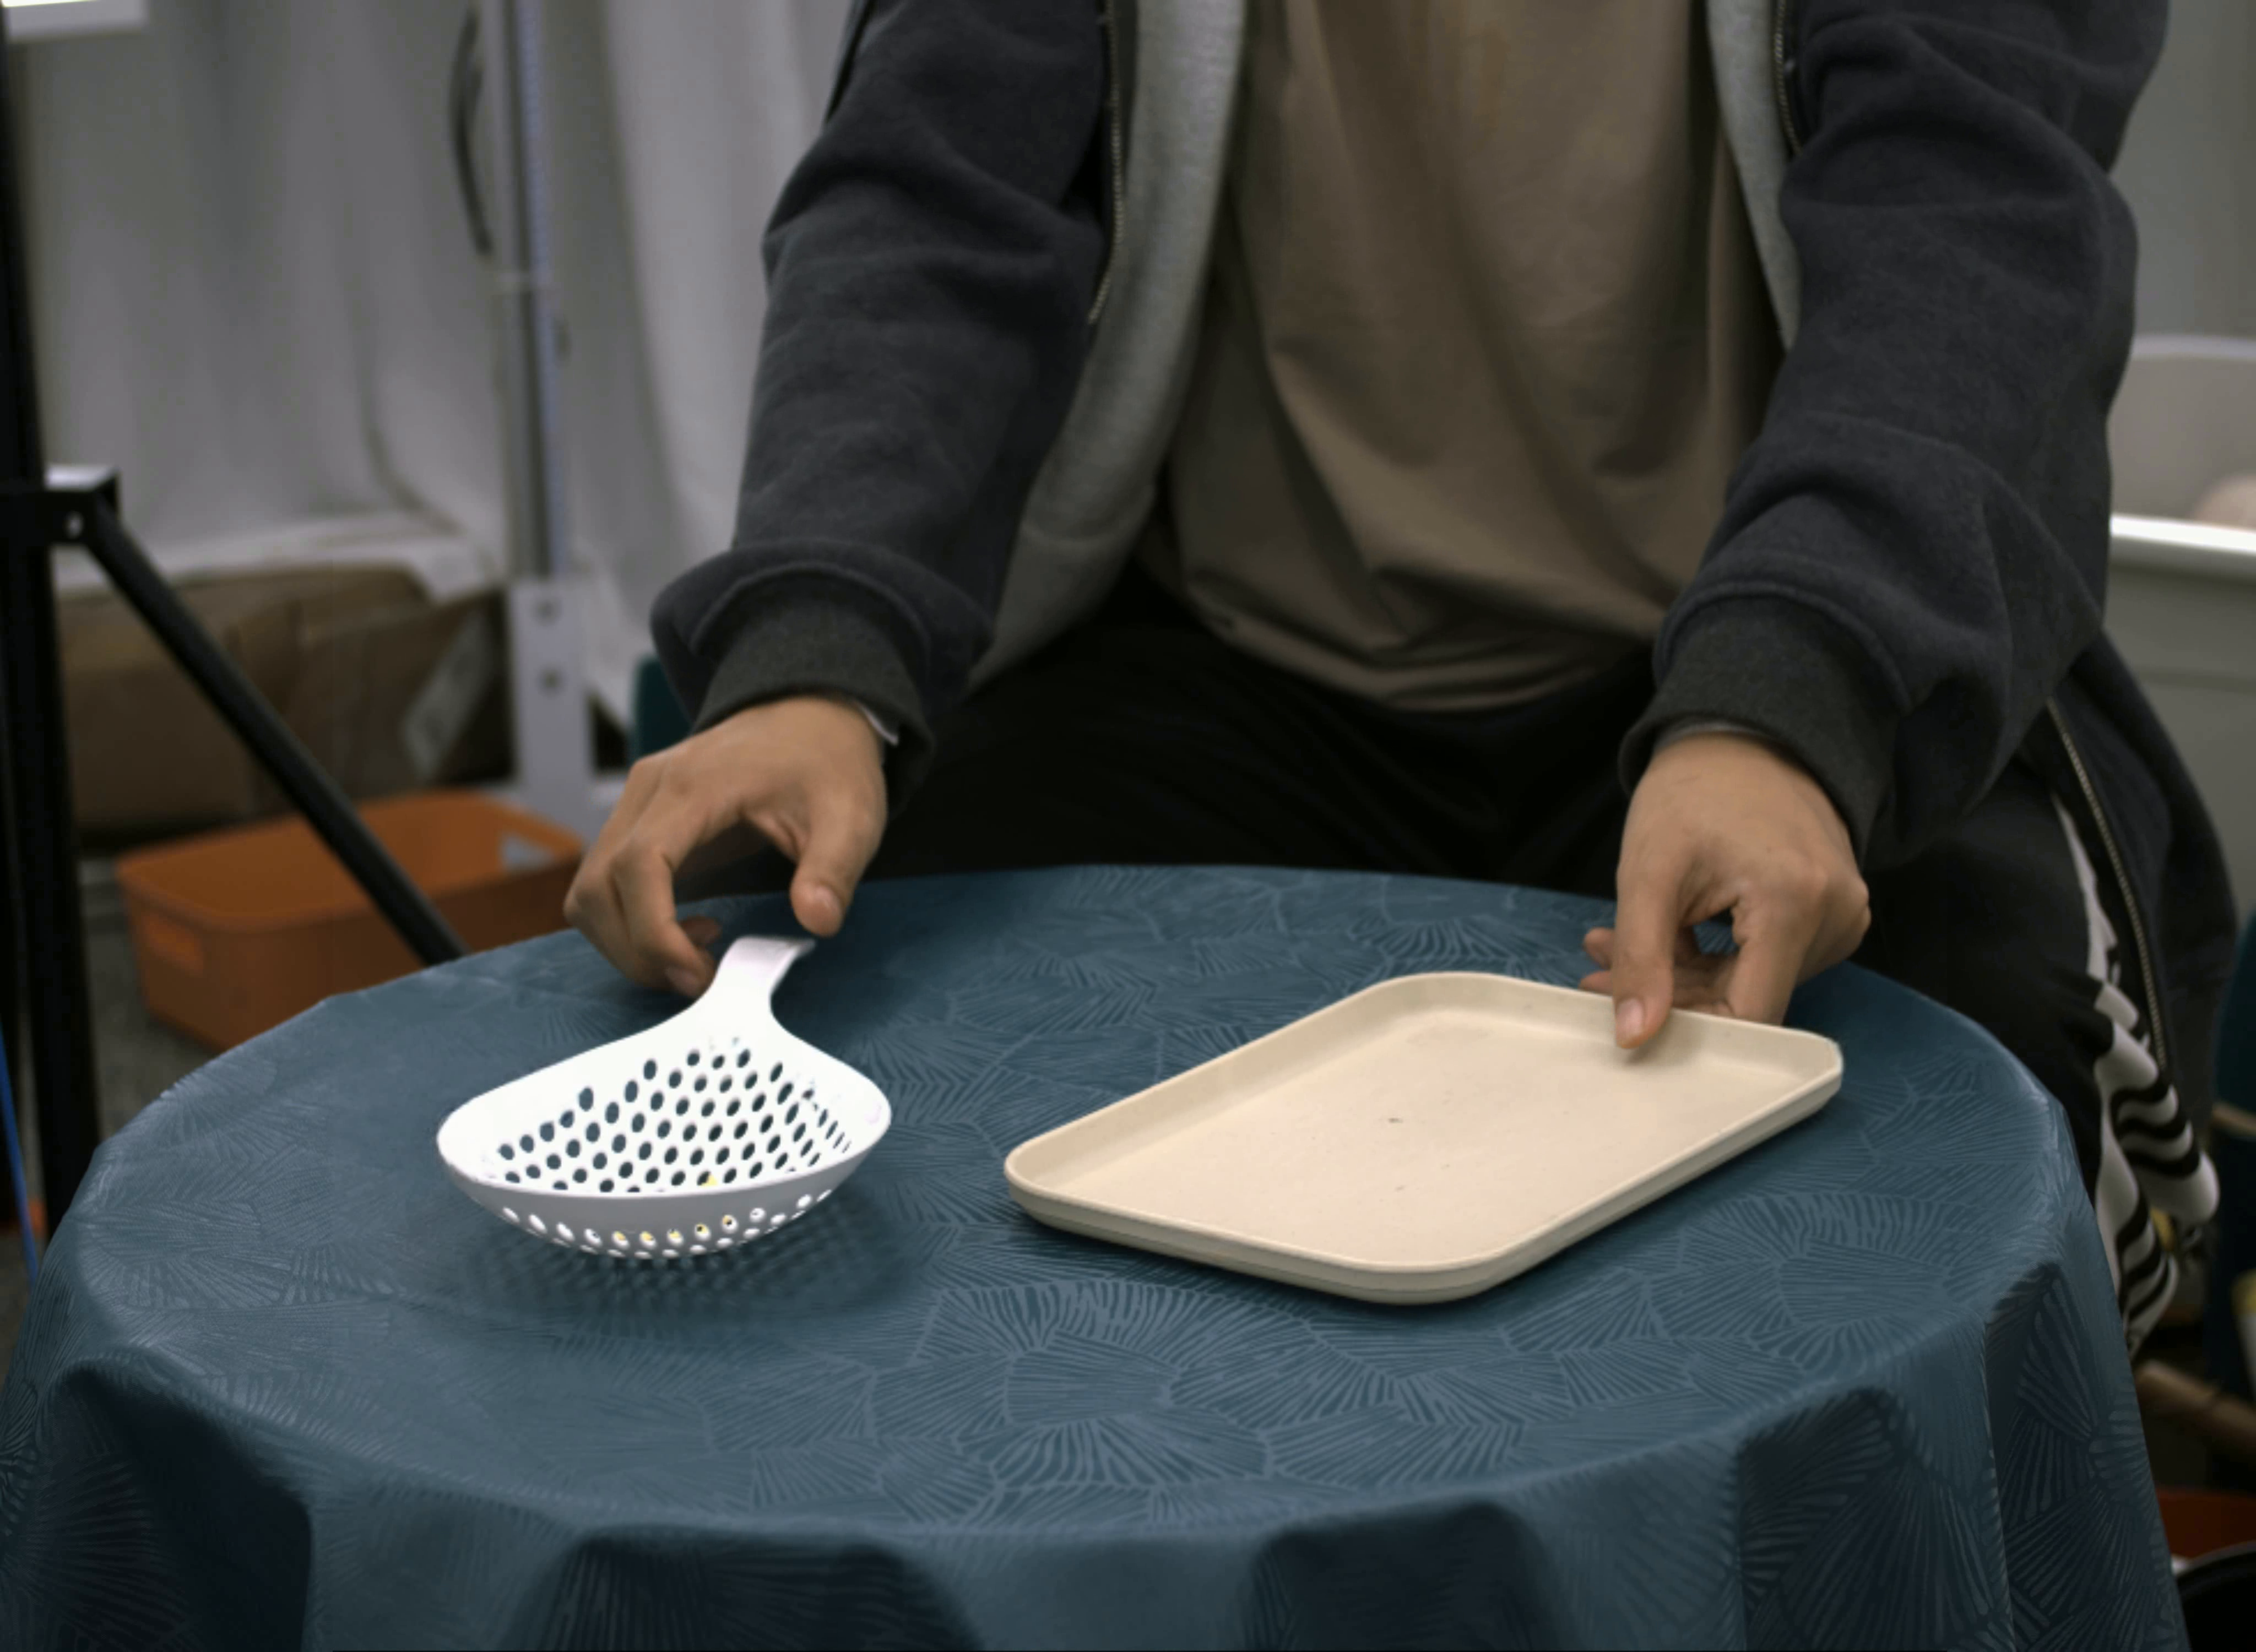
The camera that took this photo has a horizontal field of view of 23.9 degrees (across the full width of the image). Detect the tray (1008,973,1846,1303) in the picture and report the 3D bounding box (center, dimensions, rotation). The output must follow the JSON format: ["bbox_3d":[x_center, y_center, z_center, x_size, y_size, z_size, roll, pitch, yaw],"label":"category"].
[{"bbox_3d":[0.092,0.091,1.572,0.175,0.017,0.234,9,20,38],"label":"tray"}]

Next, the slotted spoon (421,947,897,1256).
[{"bbox_3d":[-0.126,0.070,1.637,0.137,0.050,0.348,-3,16,5],"label":"slotted spoon"}]
